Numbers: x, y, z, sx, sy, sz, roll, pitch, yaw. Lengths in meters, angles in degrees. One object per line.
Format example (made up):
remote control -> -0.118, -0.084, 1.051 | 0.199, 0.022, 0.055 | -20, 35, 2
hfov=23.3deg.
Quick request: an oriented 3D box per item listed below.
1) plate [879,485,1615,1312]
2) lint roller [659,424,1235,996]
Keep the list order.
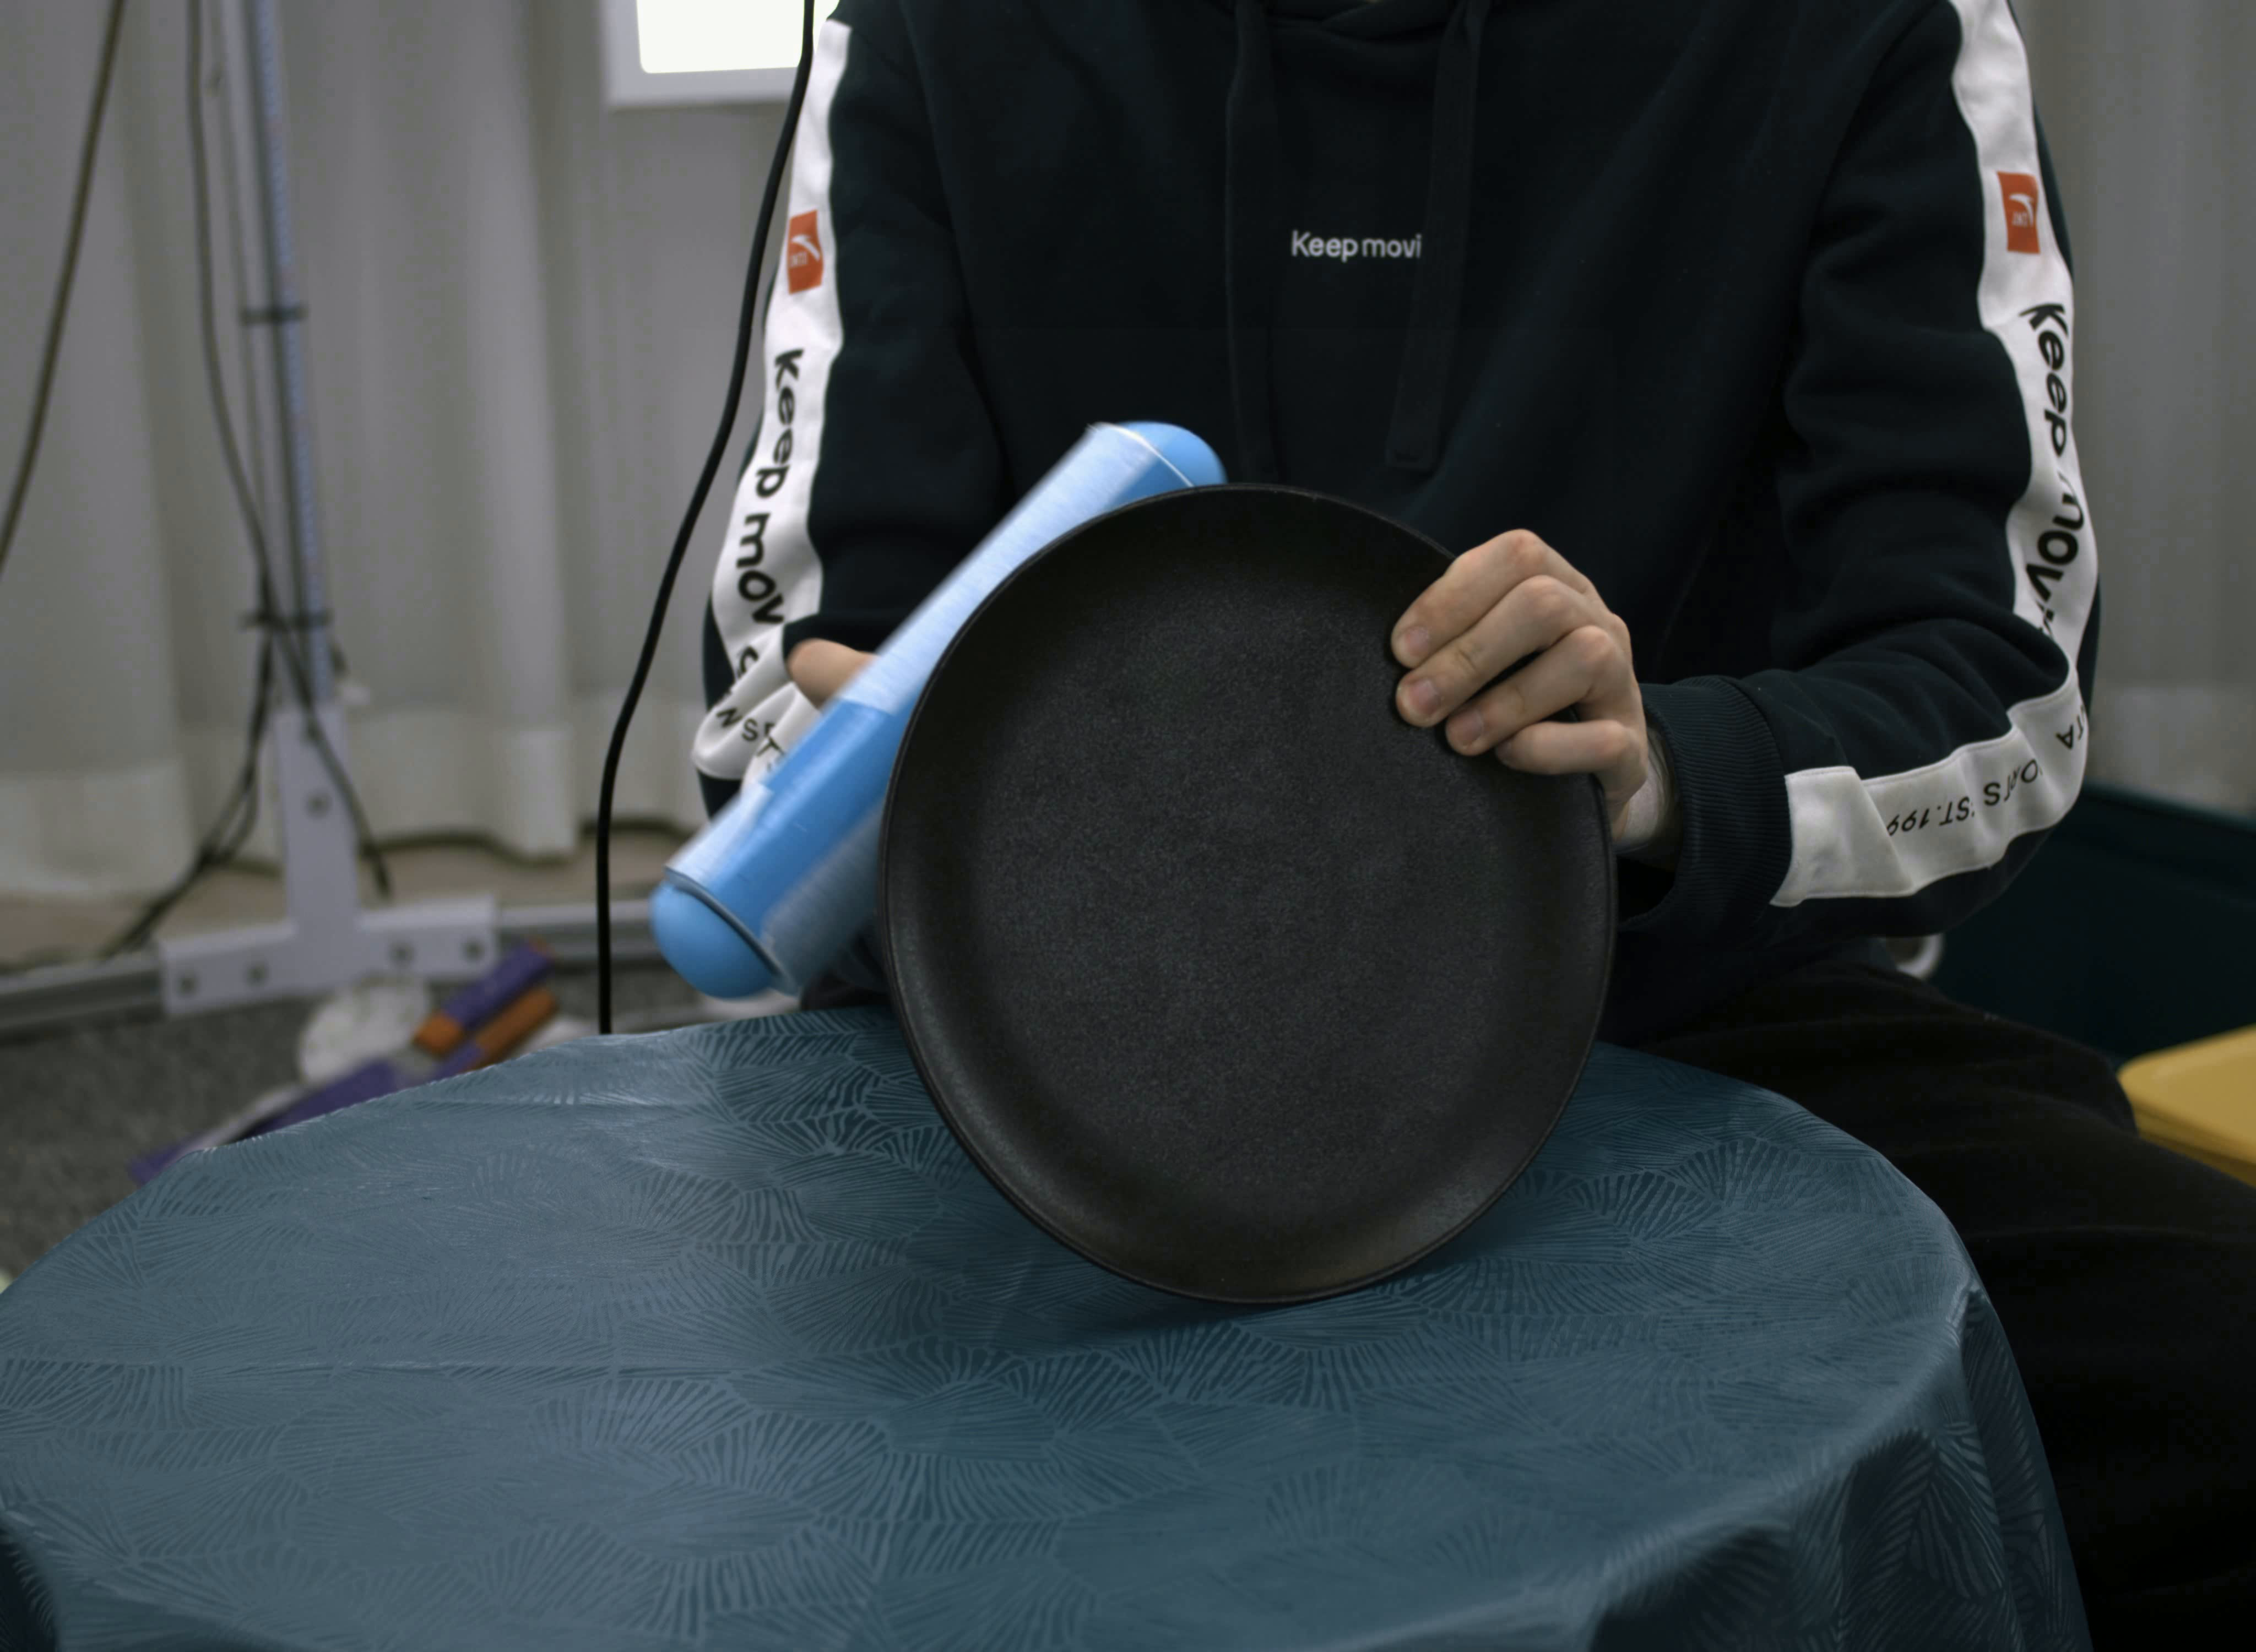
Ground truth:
plate -> 0.035, 0.021, 1.617 | 0.243, 0.245, 0.023 | -10, 0, -26
lint roller -> -0.052, -0.015, 1.694 | 0.068, 0.178, 0.230 | 39, 72, 14
